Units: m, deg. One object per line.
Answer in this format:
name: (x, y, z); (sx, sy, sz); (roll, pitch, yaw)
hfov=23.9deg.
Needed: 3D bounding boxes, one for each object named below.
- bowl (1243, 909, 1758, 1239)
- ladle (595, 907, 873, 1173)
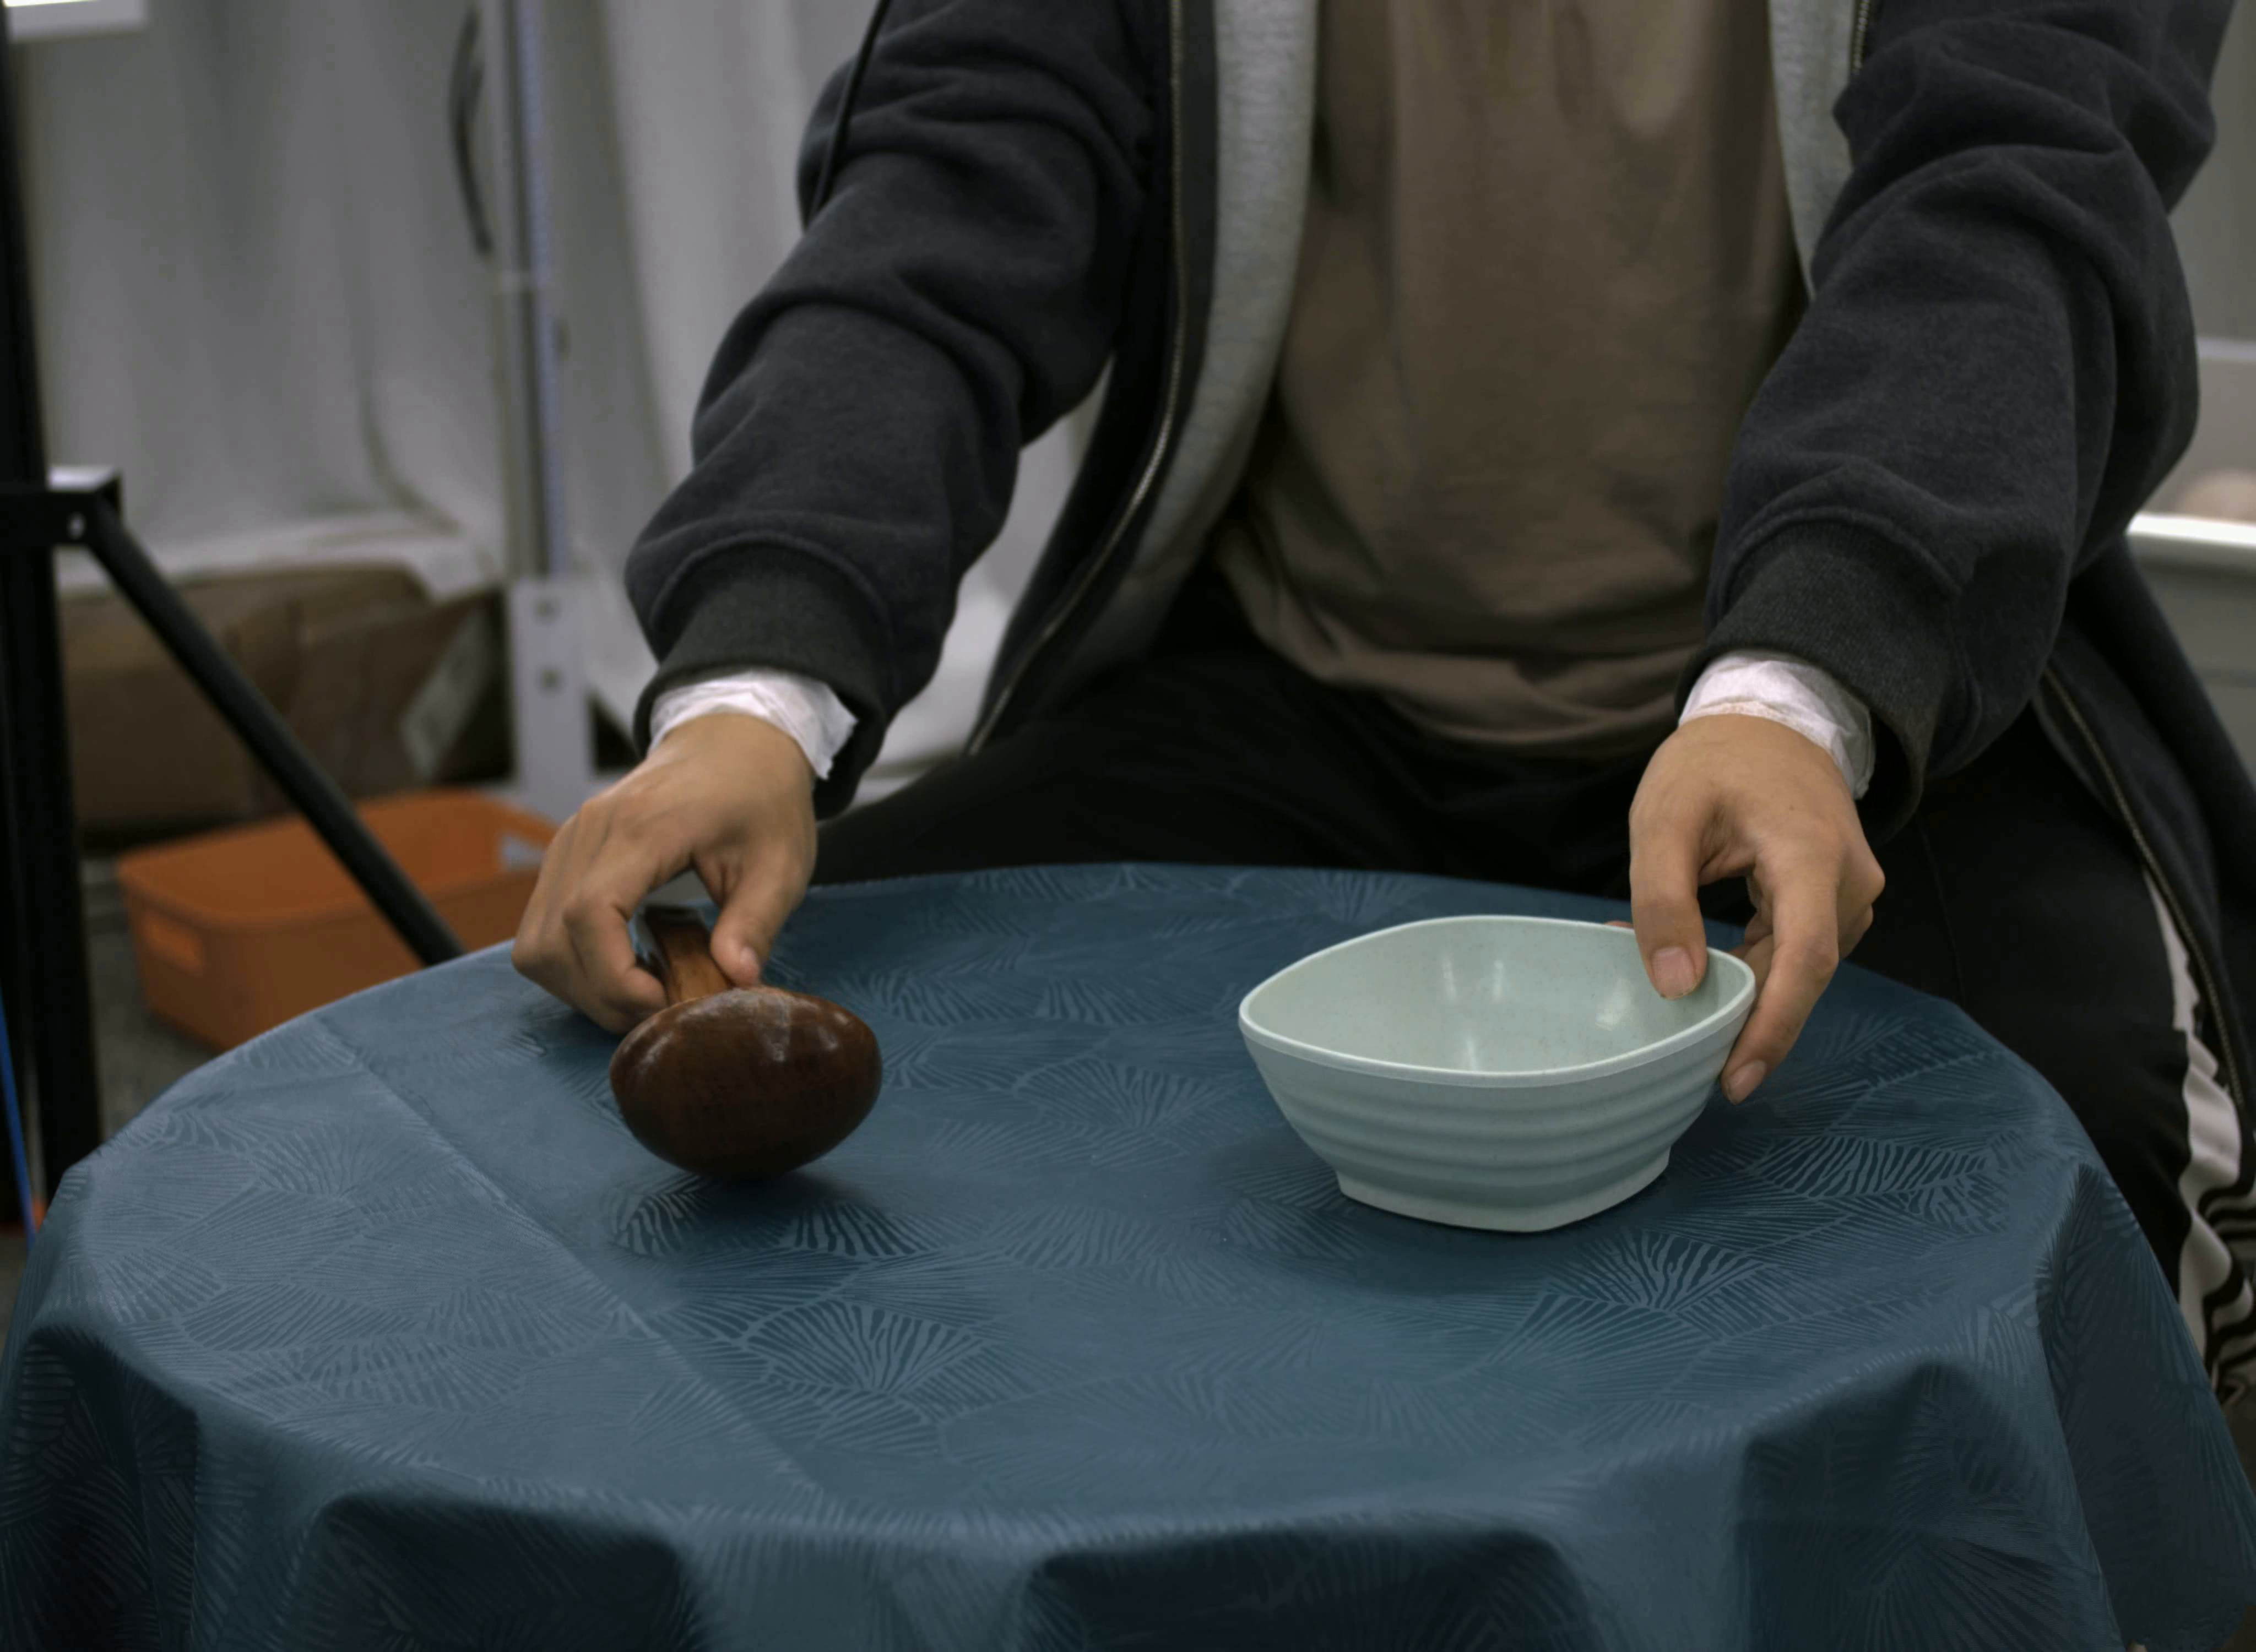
bowl: (0.110, 0.076, 1.544); (0.151, 0.058, 0.152); (-6, 18, 0)
ladle: (-0.128, 0.042, 1.661); (0.081, 0.077, 0.276); (2, 17, -8)
